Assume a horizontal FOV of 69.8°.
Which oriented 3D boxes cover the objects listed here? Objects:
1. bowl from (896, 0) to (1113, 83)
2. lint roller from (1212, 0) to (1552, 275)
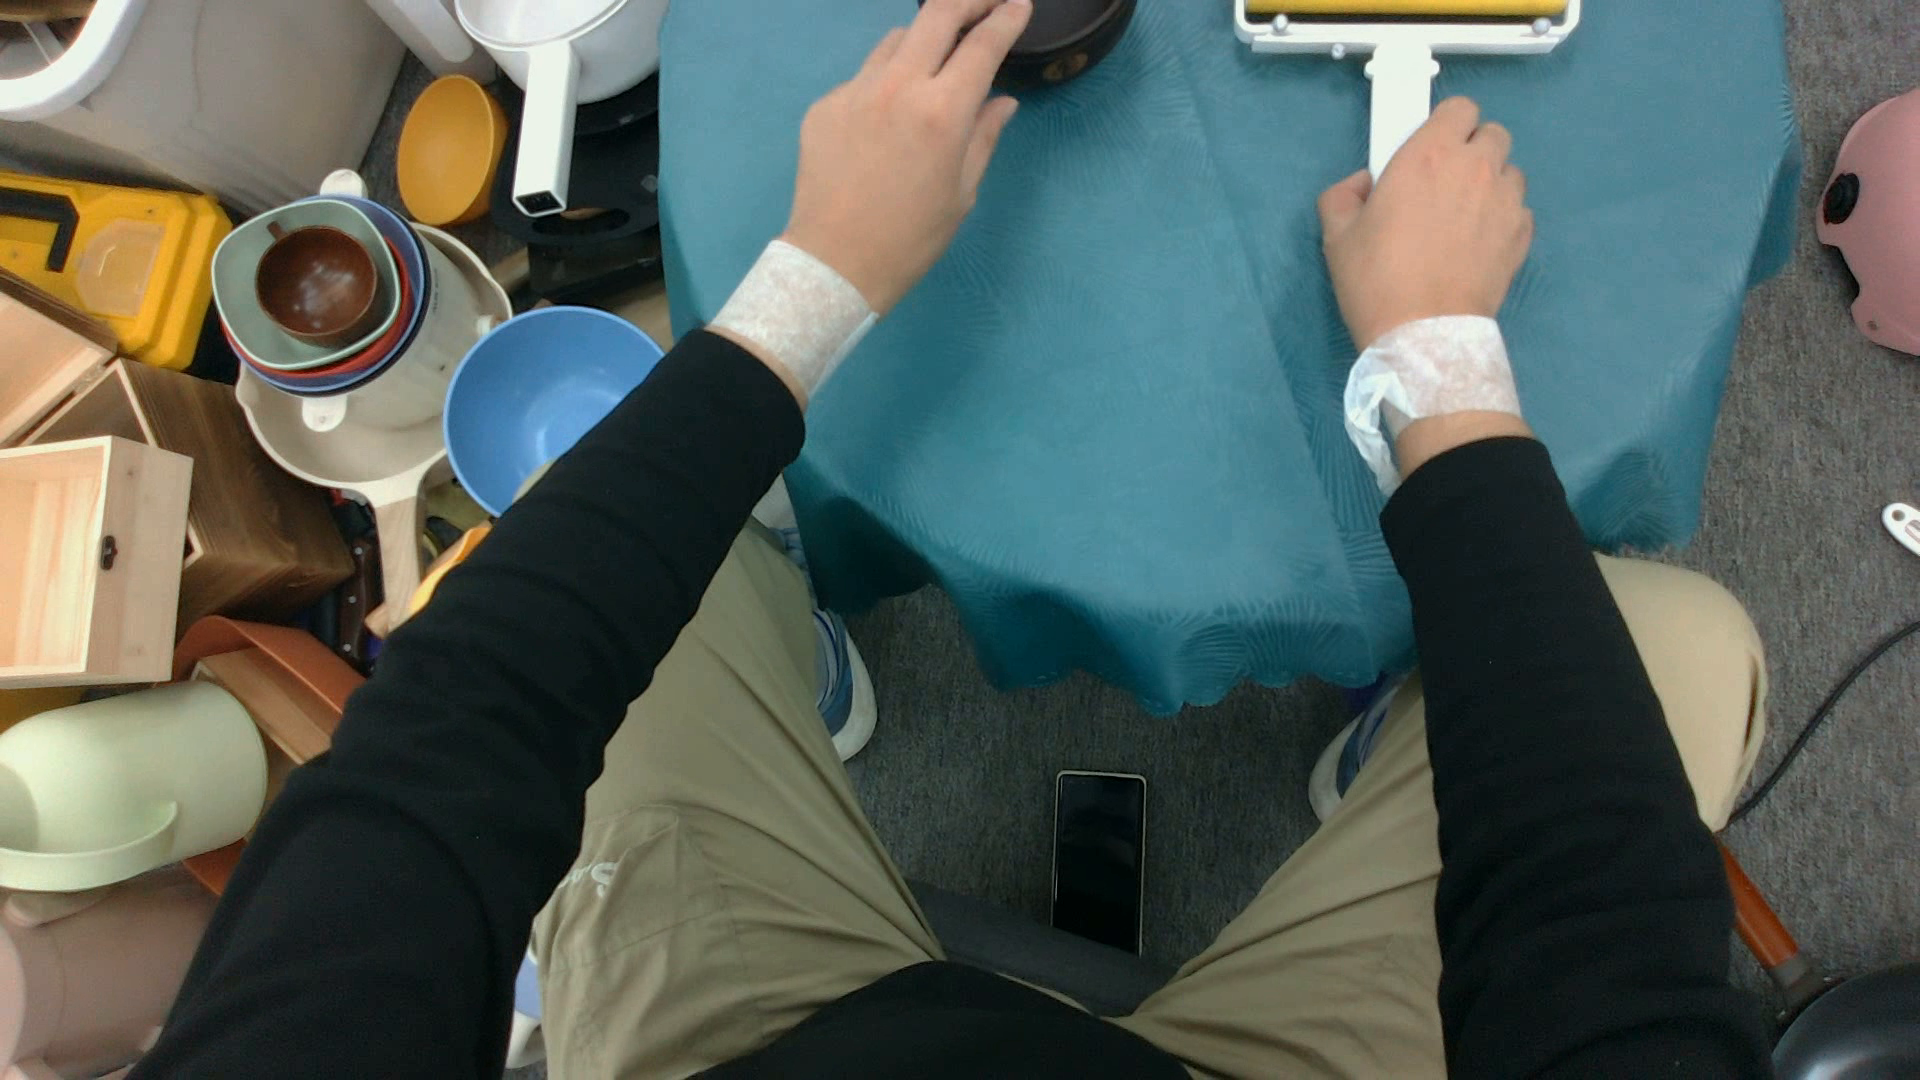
[{"bbox_3d":[0.024,-0.294,0.722,0.118,0.070,0.118,-1,79,5],"label":"bowl"},{"bbox_3d":[0.218,-0.234,0.706,0.174,0.051,0.192,0,74,5],"label":"lint roller"}]
